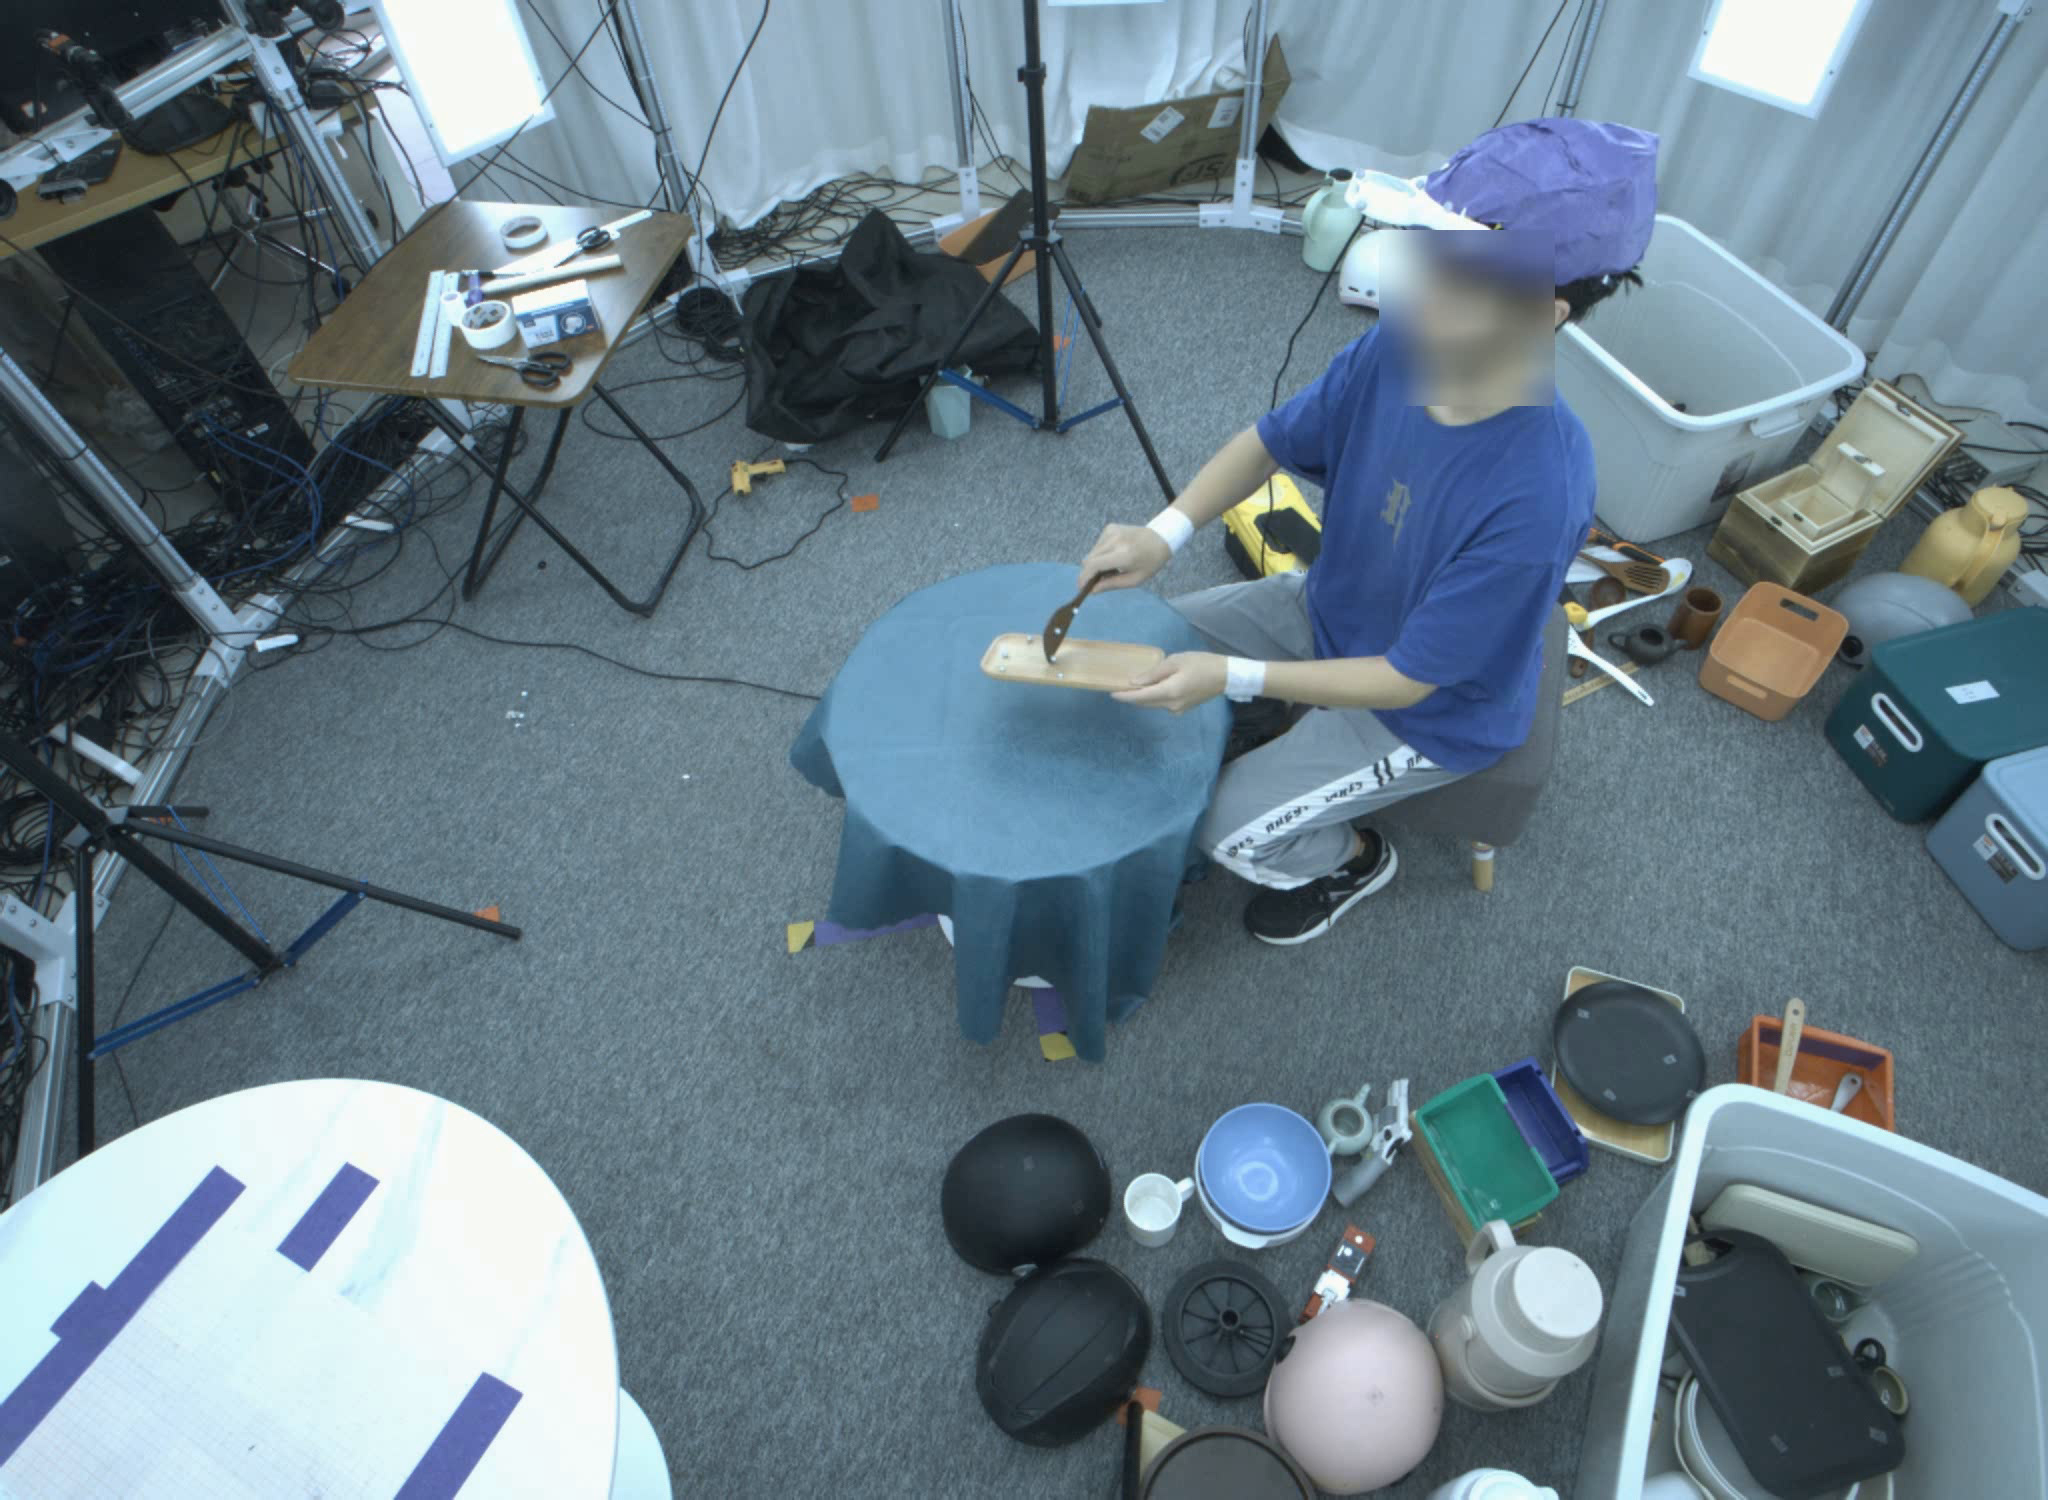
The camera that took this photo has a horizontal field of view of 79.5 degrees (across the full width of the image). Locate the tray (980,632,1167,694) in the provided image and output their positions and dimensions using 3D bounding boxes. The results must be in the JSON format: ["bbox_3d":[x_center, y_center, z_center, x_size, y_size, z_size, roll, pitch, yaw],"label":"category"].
[{"bbox_3d":[0.070,-0.123,1.725,0.248,0.023,0.130,8,36,11],"label":"tray"}]

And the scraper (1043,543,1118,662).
[{"bbox_3d":[0.080,-0.216,1.737,0.010,0.077,0.212,25,63,21],"label":"scraper"}]
